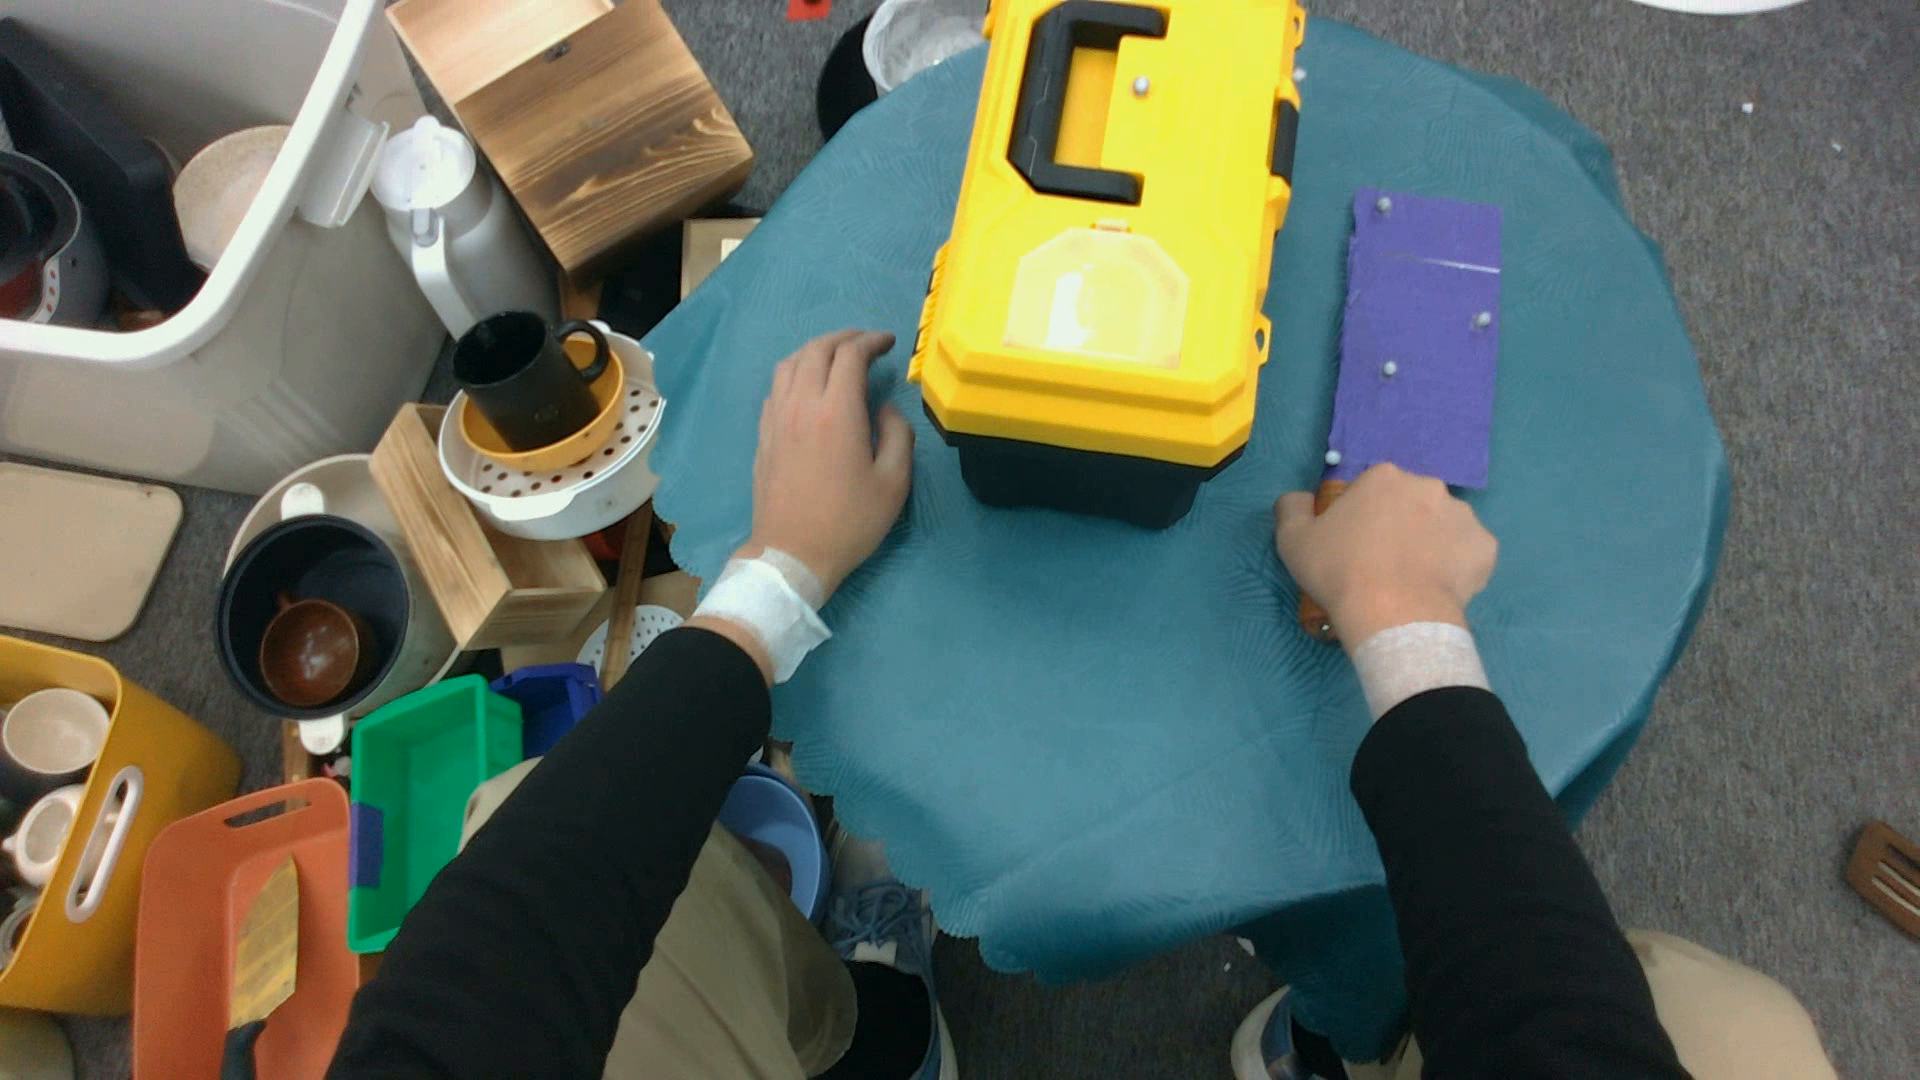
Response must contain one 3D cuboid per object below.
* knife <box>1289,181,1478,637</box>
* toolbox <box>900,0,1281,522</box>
[{"bbox_3d":[0.251,-0.086,0.811,0.104,0.032,0.316,9,65,5],"label":"knife"},{"bbox_3d":[0.079,-0.192,0.784,0.181,0.172,0.353,8,67,5],"label":"toolbox"}]
